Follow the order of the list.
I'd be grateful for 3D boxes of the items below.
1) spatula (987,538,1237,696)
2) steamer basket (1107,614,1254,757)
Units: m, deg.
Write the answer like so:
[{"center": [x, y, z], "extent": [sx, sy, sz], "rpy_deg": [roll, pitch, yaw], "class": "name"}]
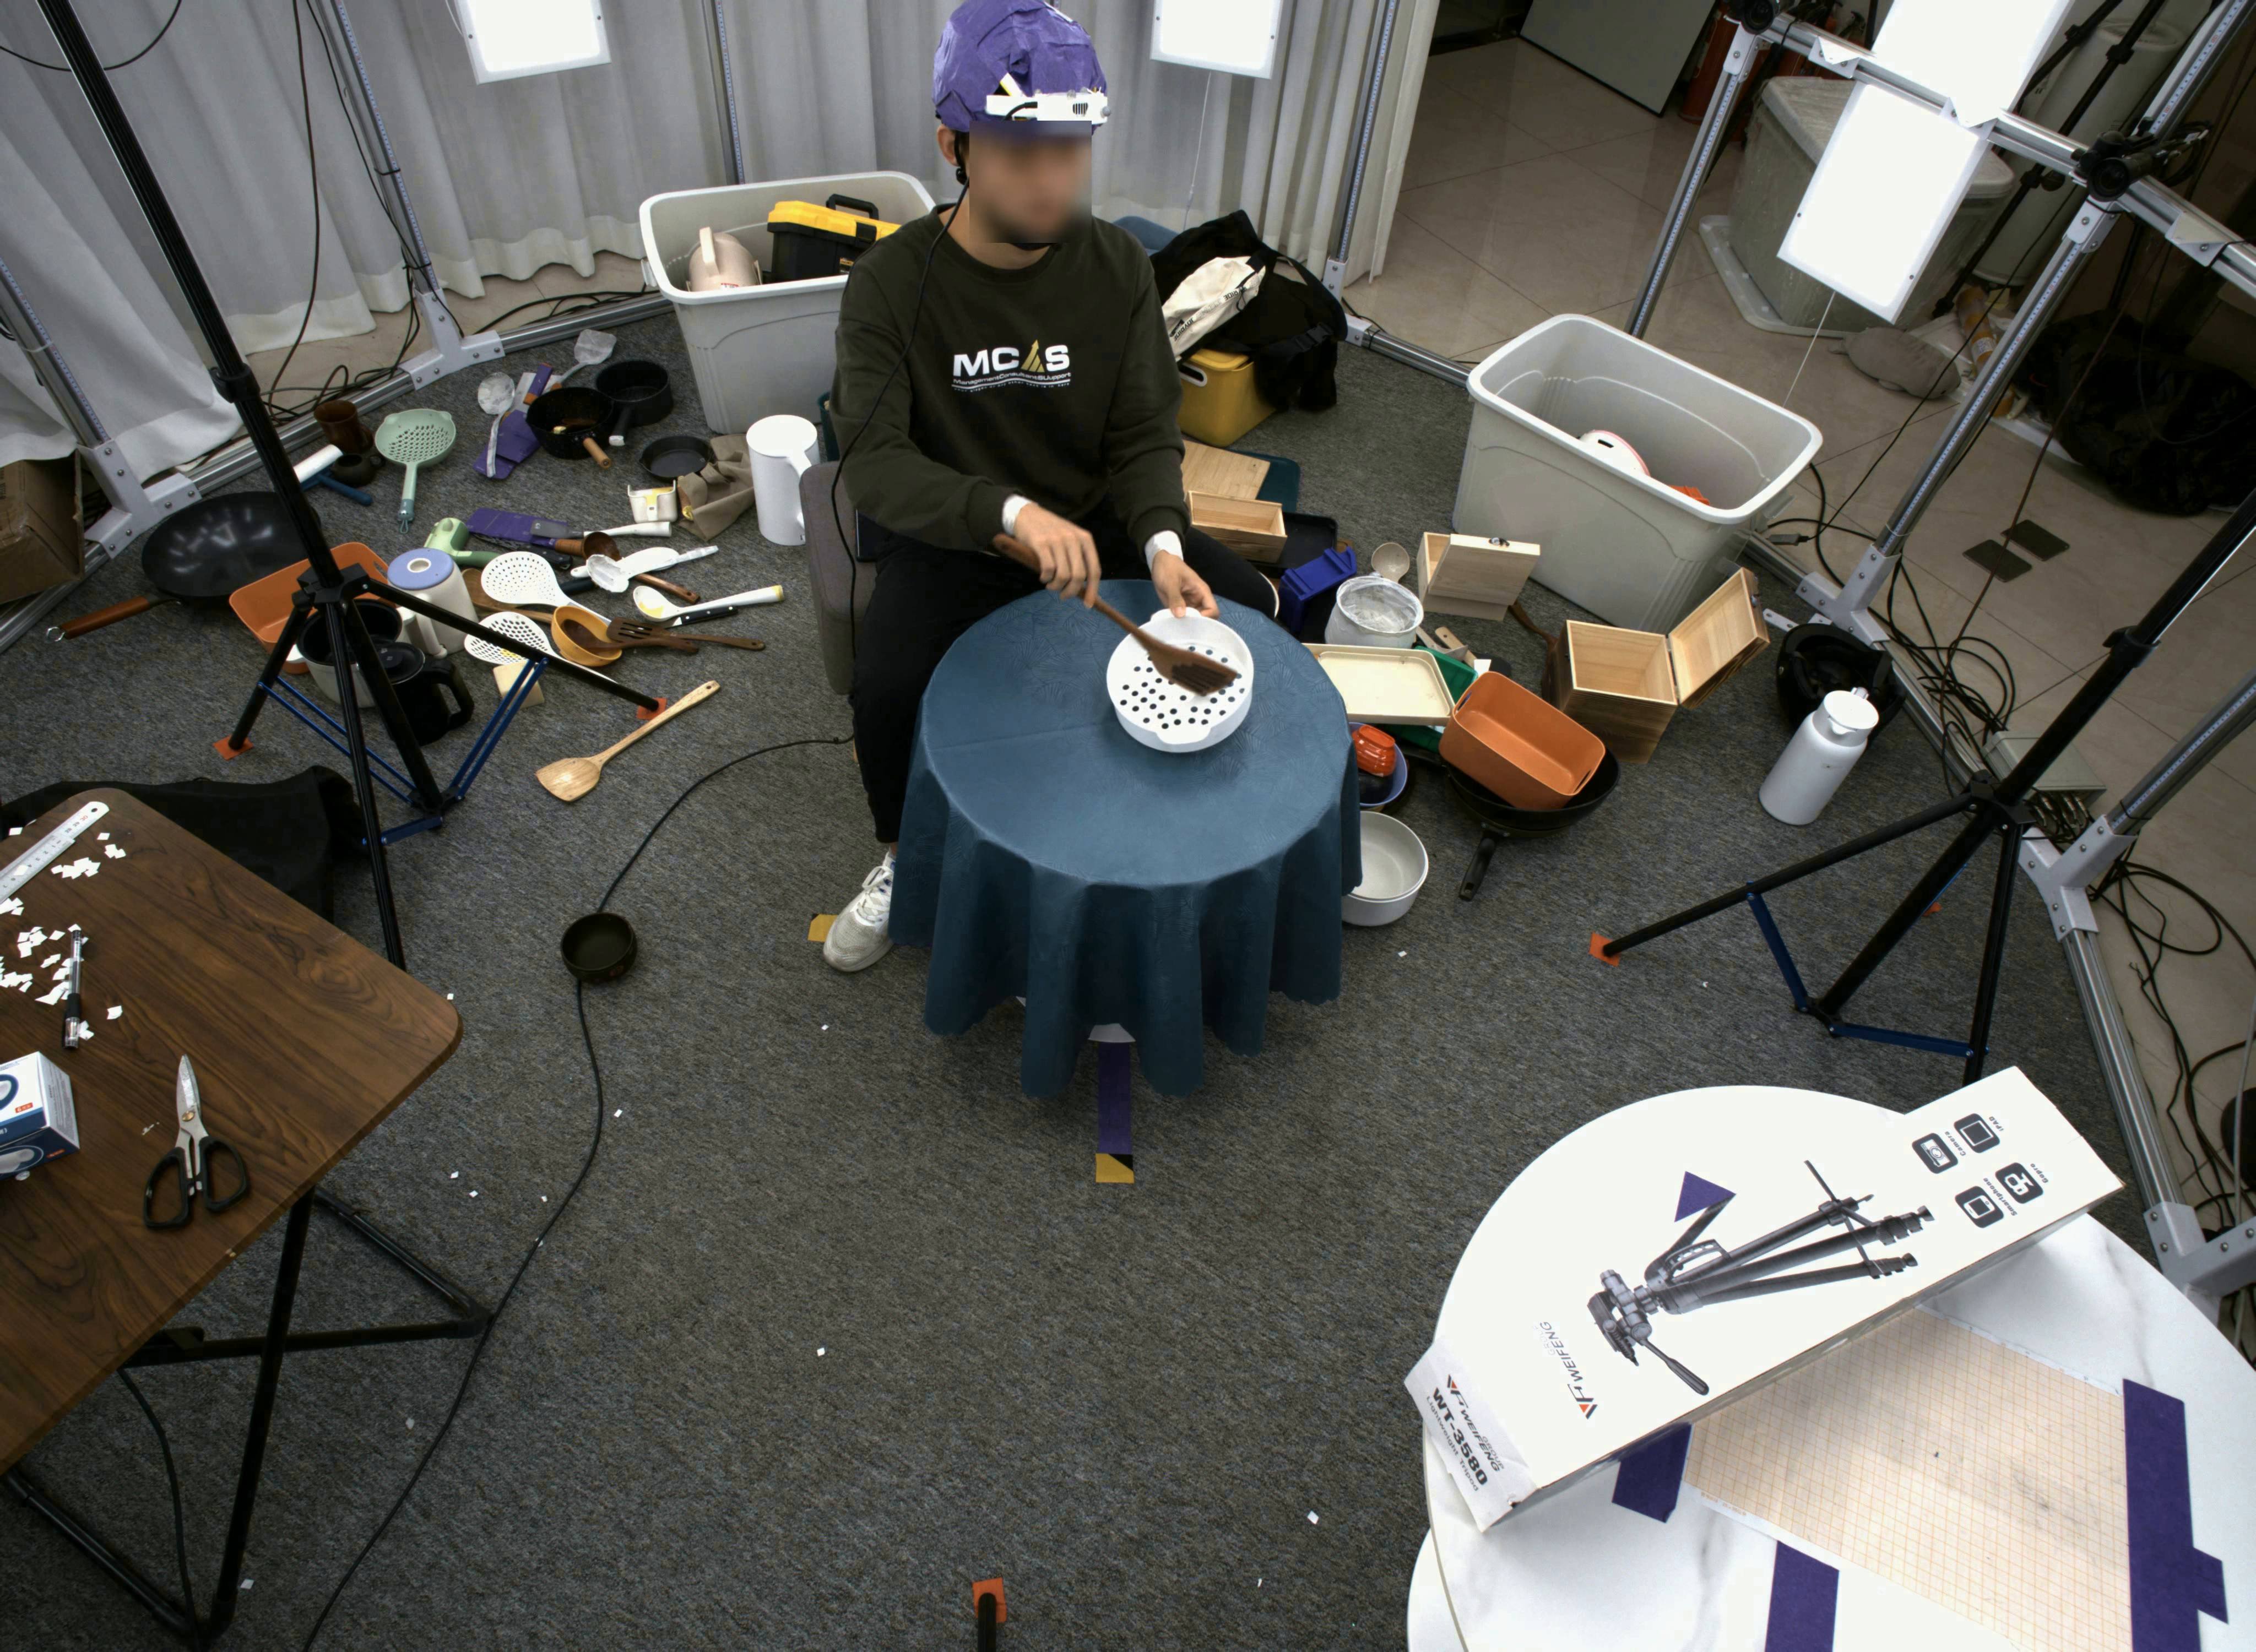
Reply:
[{"center": [-0.021, -0.269, 1.683], "extent": [0.380, 0.085, 0.024], "rpy_deg": [30, 60, -24], "class": "spatula"}, {"center": [0.074, -0.189, 1.776], "extent": [0.202, 0.067, 0.236], "rpy_deg": [-4, 55, 4], "class": "steamer basket"}]
